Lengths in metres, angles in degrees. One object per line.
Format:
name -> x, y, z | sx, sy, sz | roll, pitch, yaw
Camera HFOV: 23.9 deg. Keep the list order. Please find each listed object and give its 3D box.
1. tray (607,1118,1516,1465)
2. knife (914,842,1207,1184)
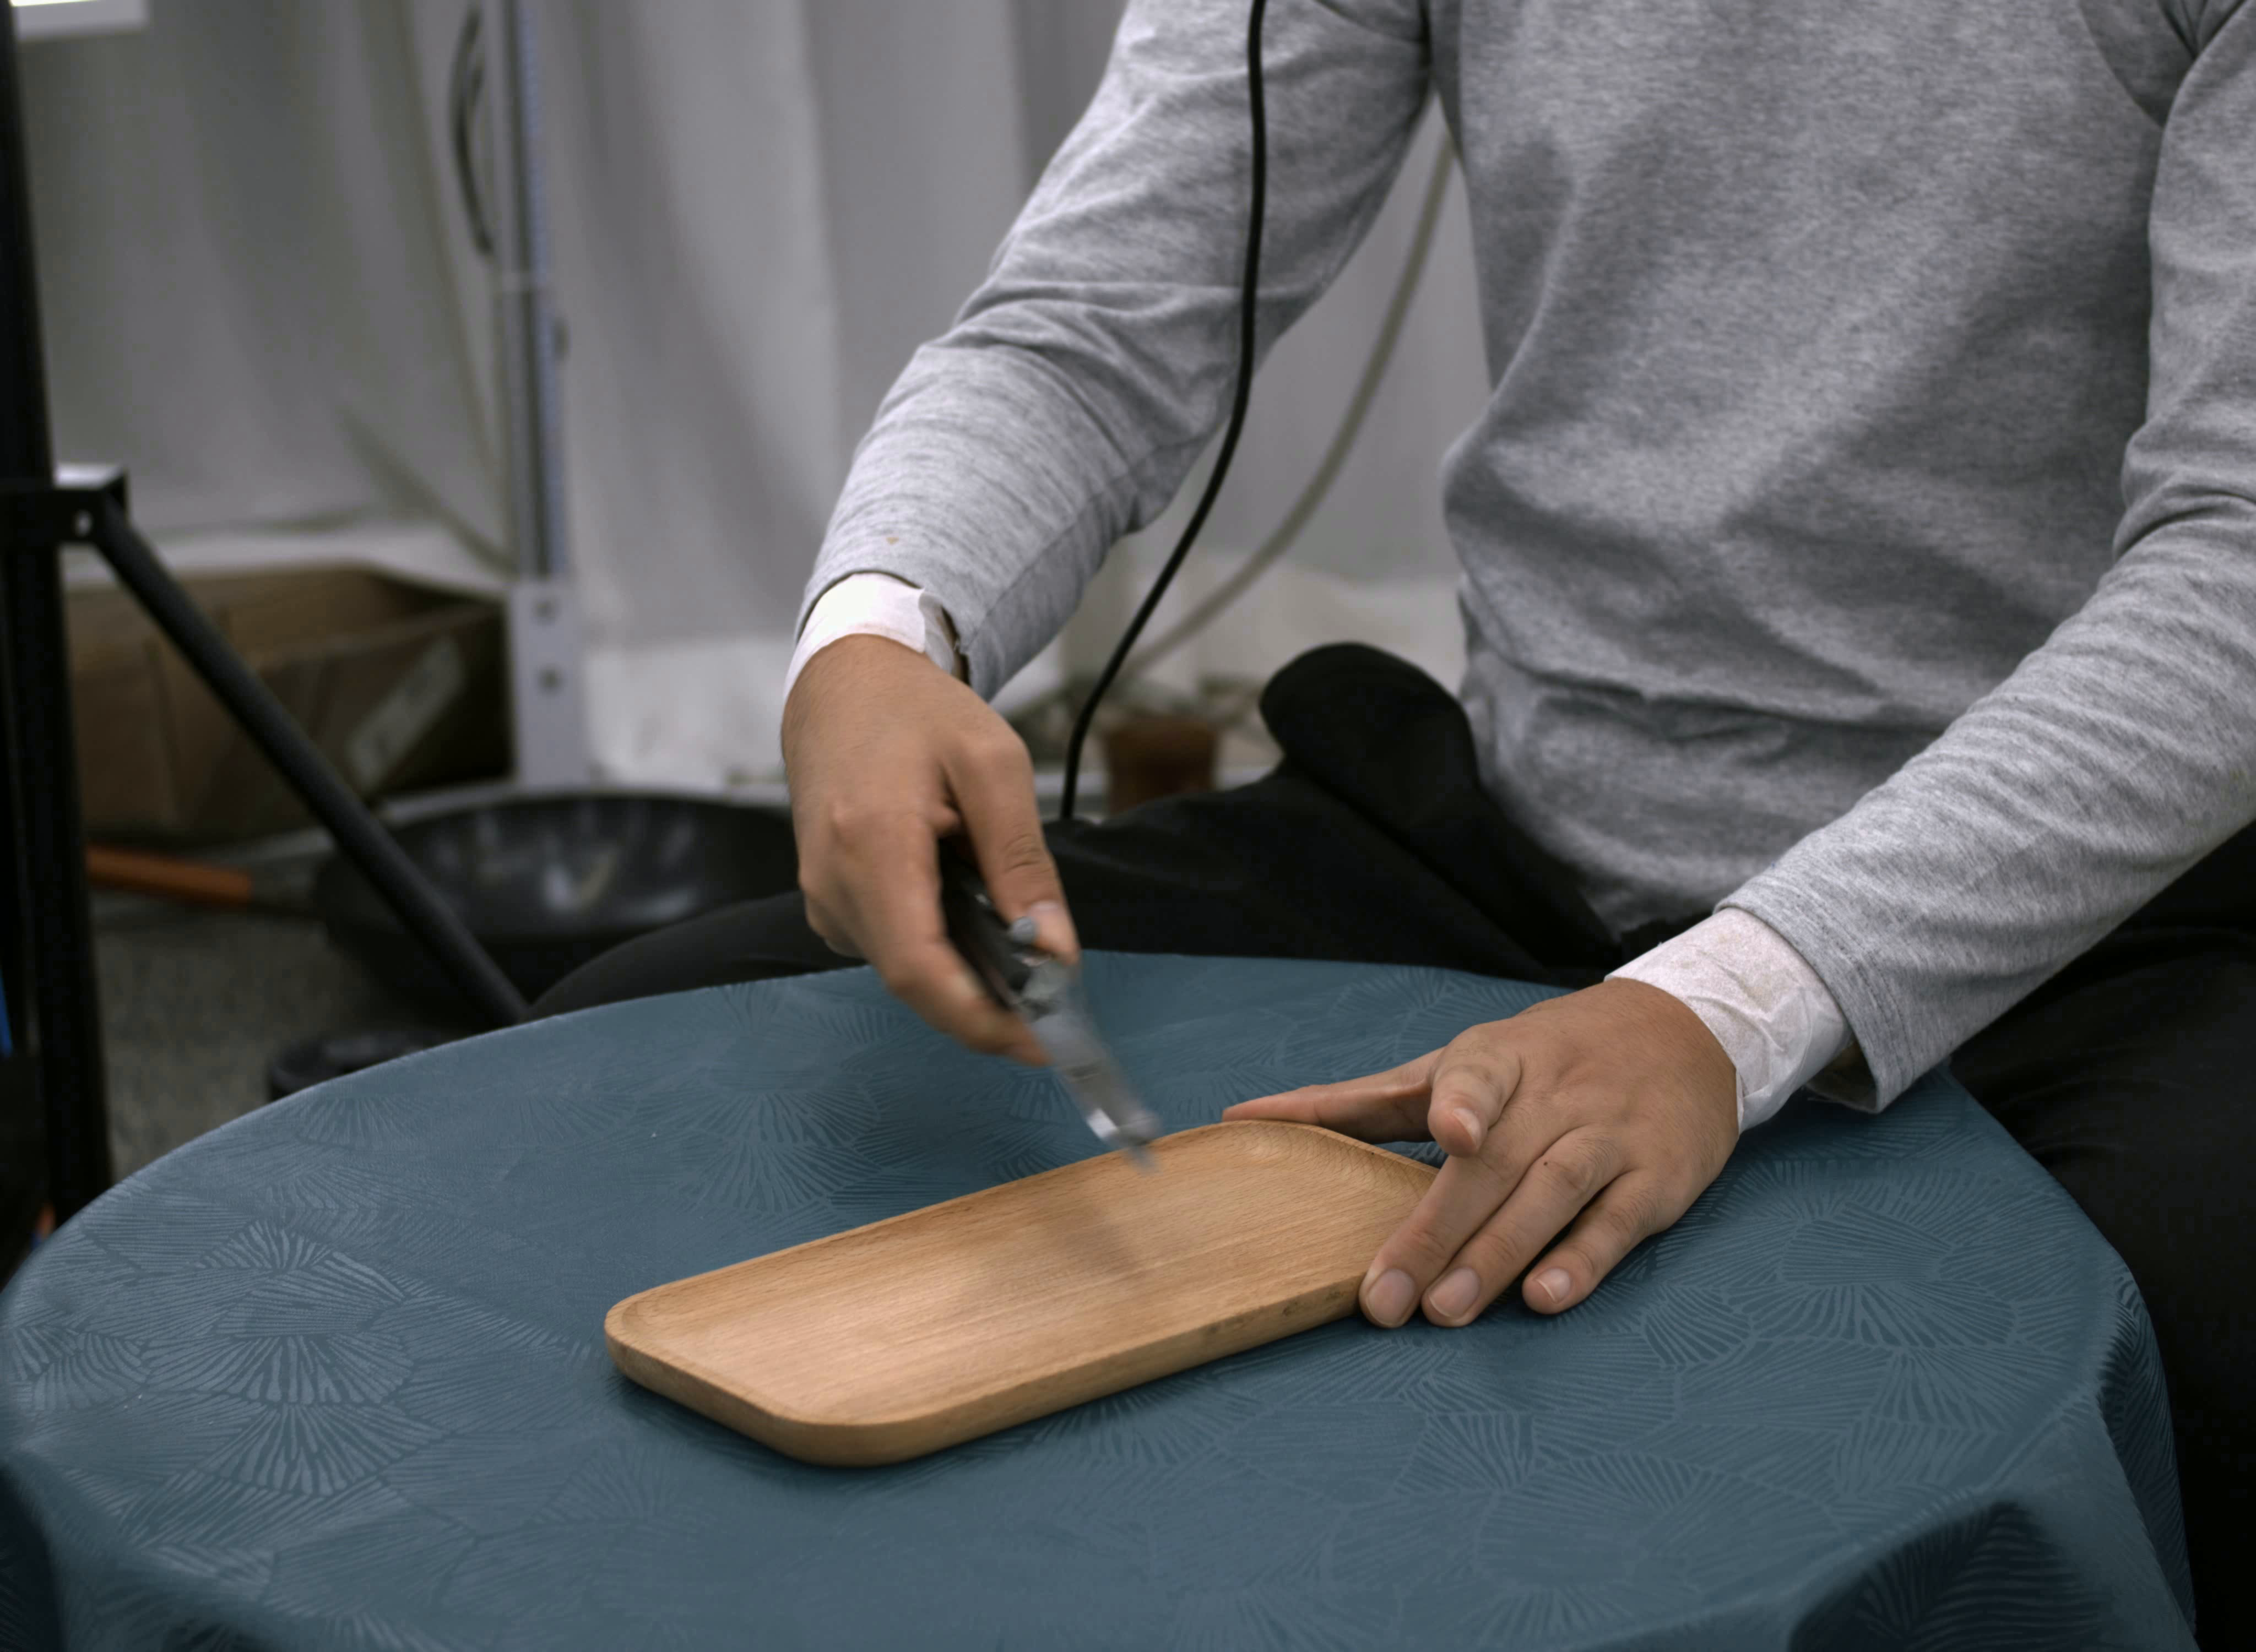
tray -> -0.015, 0.127, 1.469 | 0.245, 0.023, 0.133 | -12, 21, -35
knife -> -0.021, 0.053, 1.543 | 0.024, 0.016, 0.242 | 20, 13, -26
